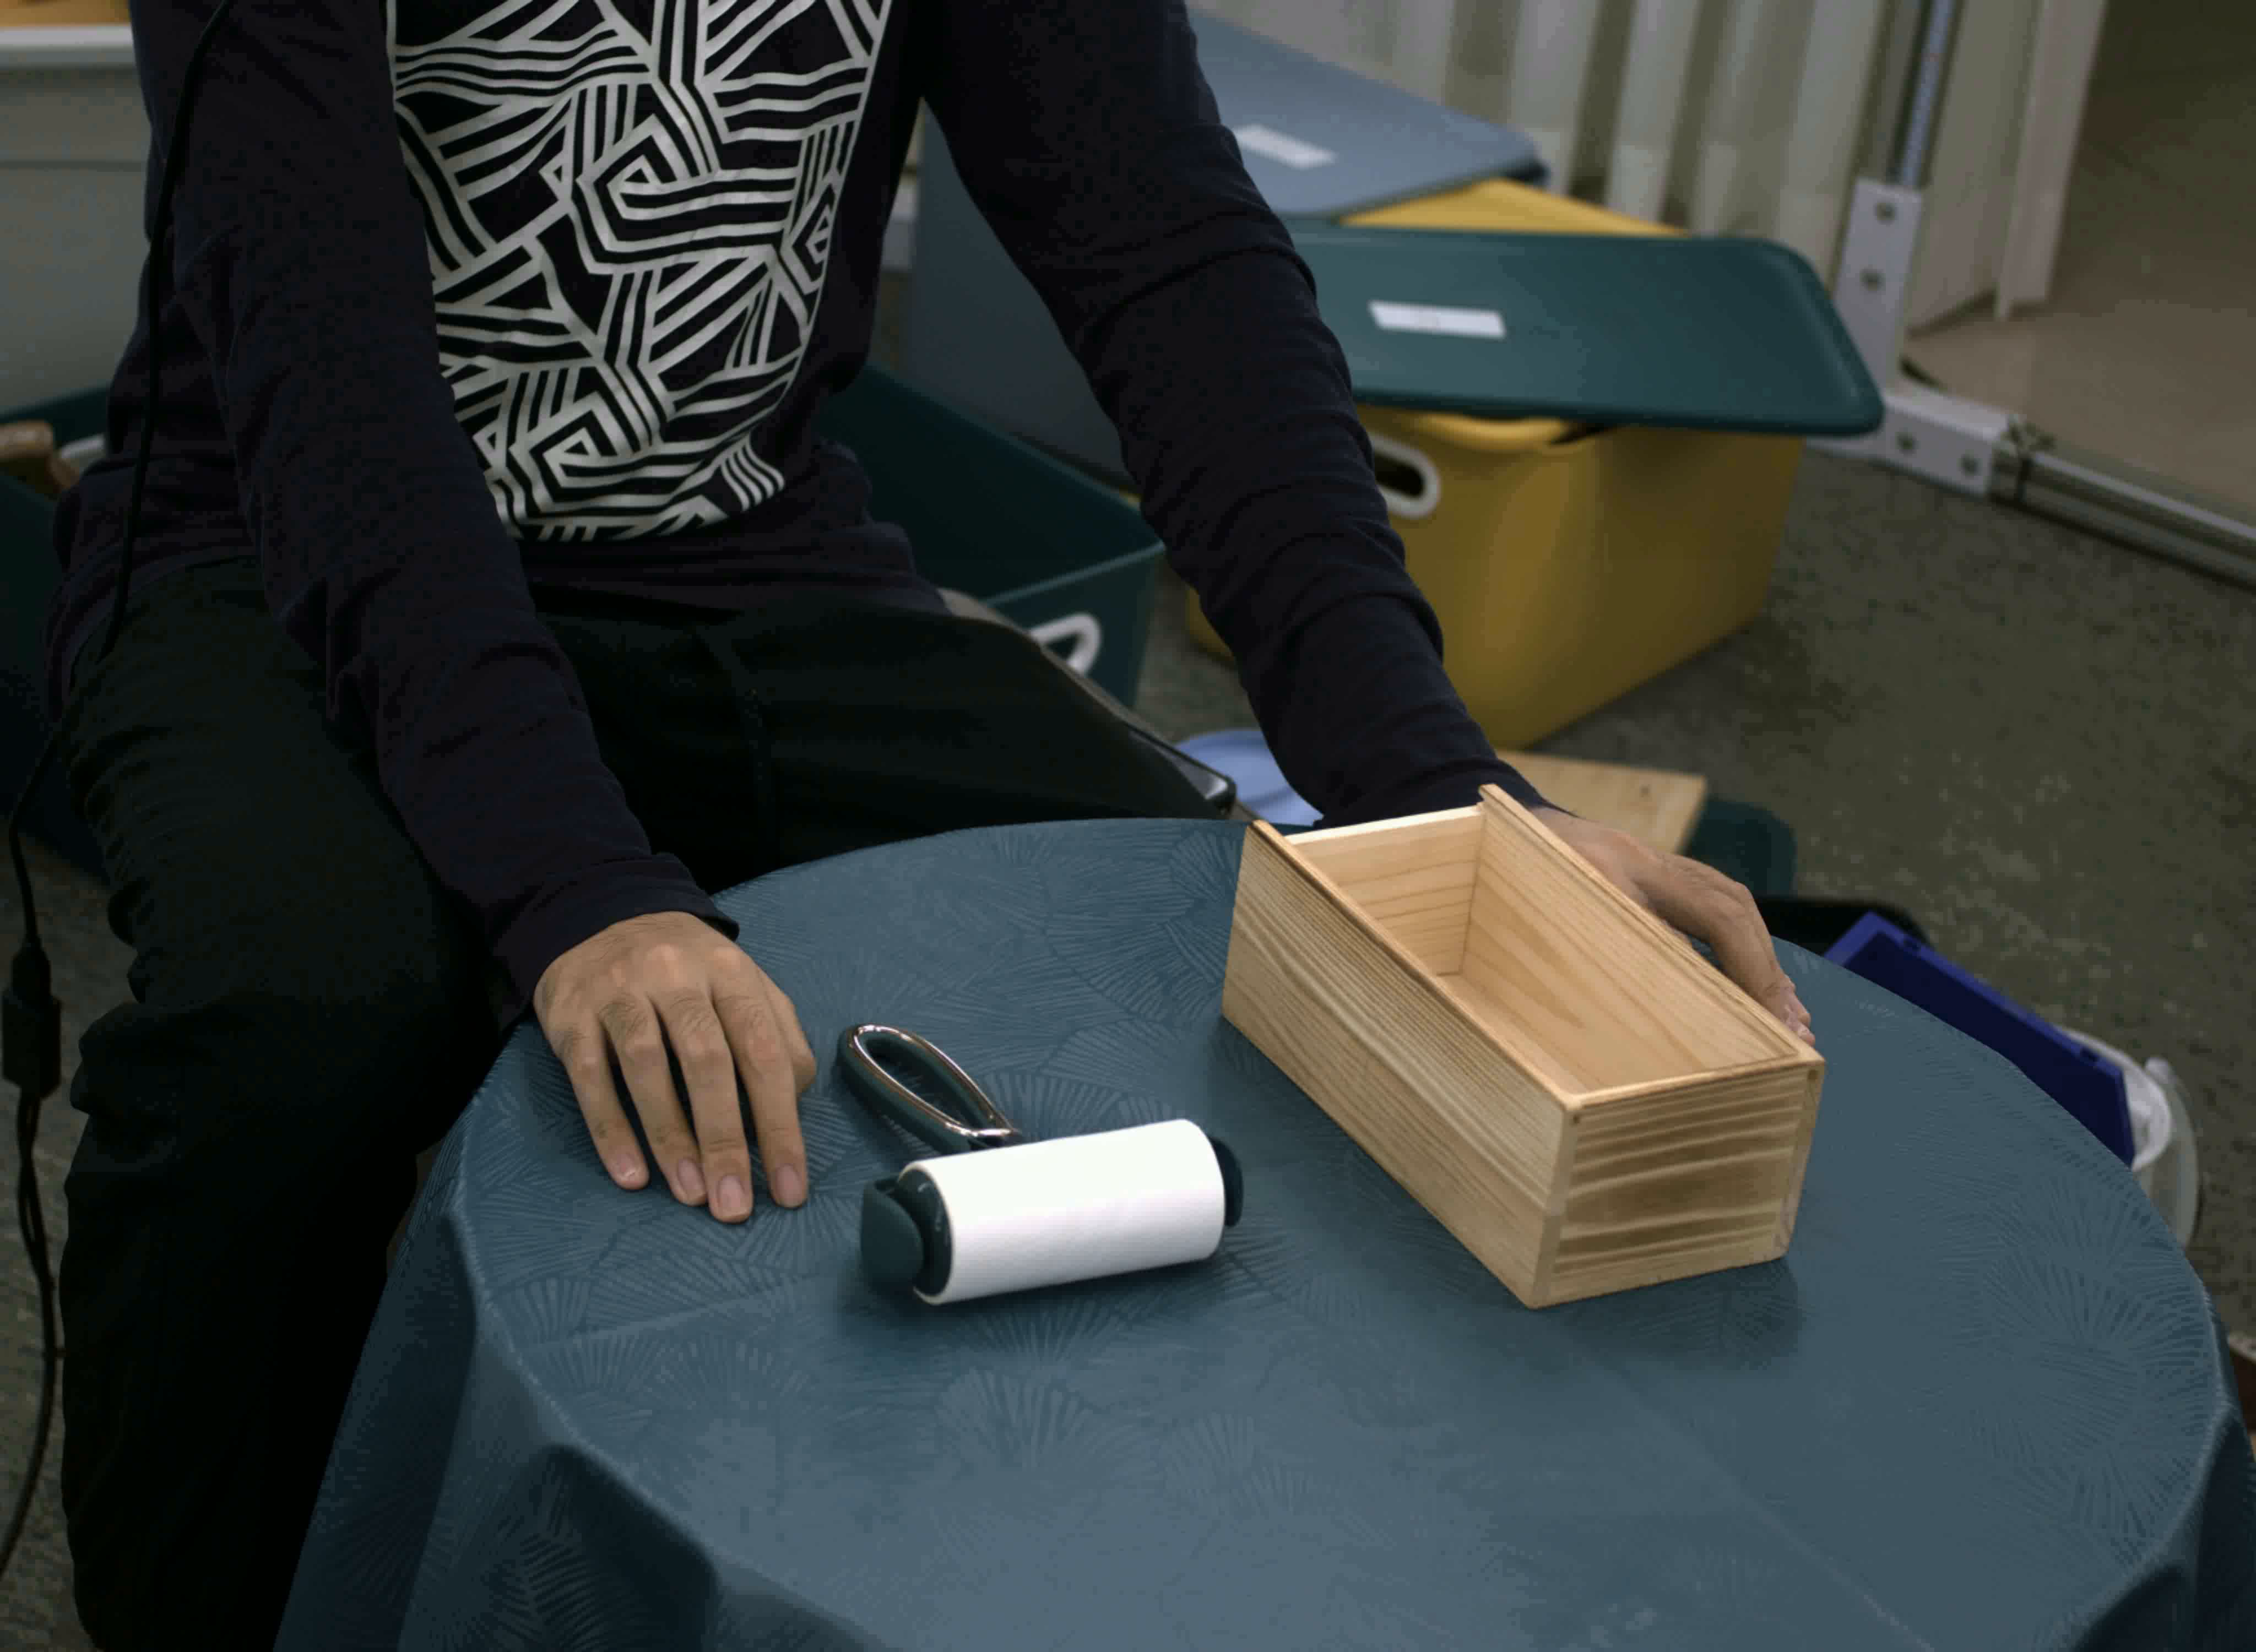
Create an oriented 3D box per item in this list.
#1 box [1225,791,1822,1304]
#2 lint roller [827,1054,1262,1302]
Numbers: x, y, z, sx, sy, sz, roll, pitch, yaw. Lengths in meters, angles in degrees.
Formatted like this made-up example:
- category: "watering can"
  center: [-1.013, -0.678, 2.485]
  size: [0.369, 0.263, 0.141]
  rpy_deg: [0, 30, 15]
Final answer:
- category: "box"
  center: [0.133, 0.074, 1.847]
  size: [0.107, 0.080, 0.213]
  rpy_deg: [-9, 29, -28]
- category: "lint roller"
  center: [-0.054, 0.099, 1.797]
  size: [0.133, 0.048, 0.182]
  rpy_deg: [-7, 27, -27]
